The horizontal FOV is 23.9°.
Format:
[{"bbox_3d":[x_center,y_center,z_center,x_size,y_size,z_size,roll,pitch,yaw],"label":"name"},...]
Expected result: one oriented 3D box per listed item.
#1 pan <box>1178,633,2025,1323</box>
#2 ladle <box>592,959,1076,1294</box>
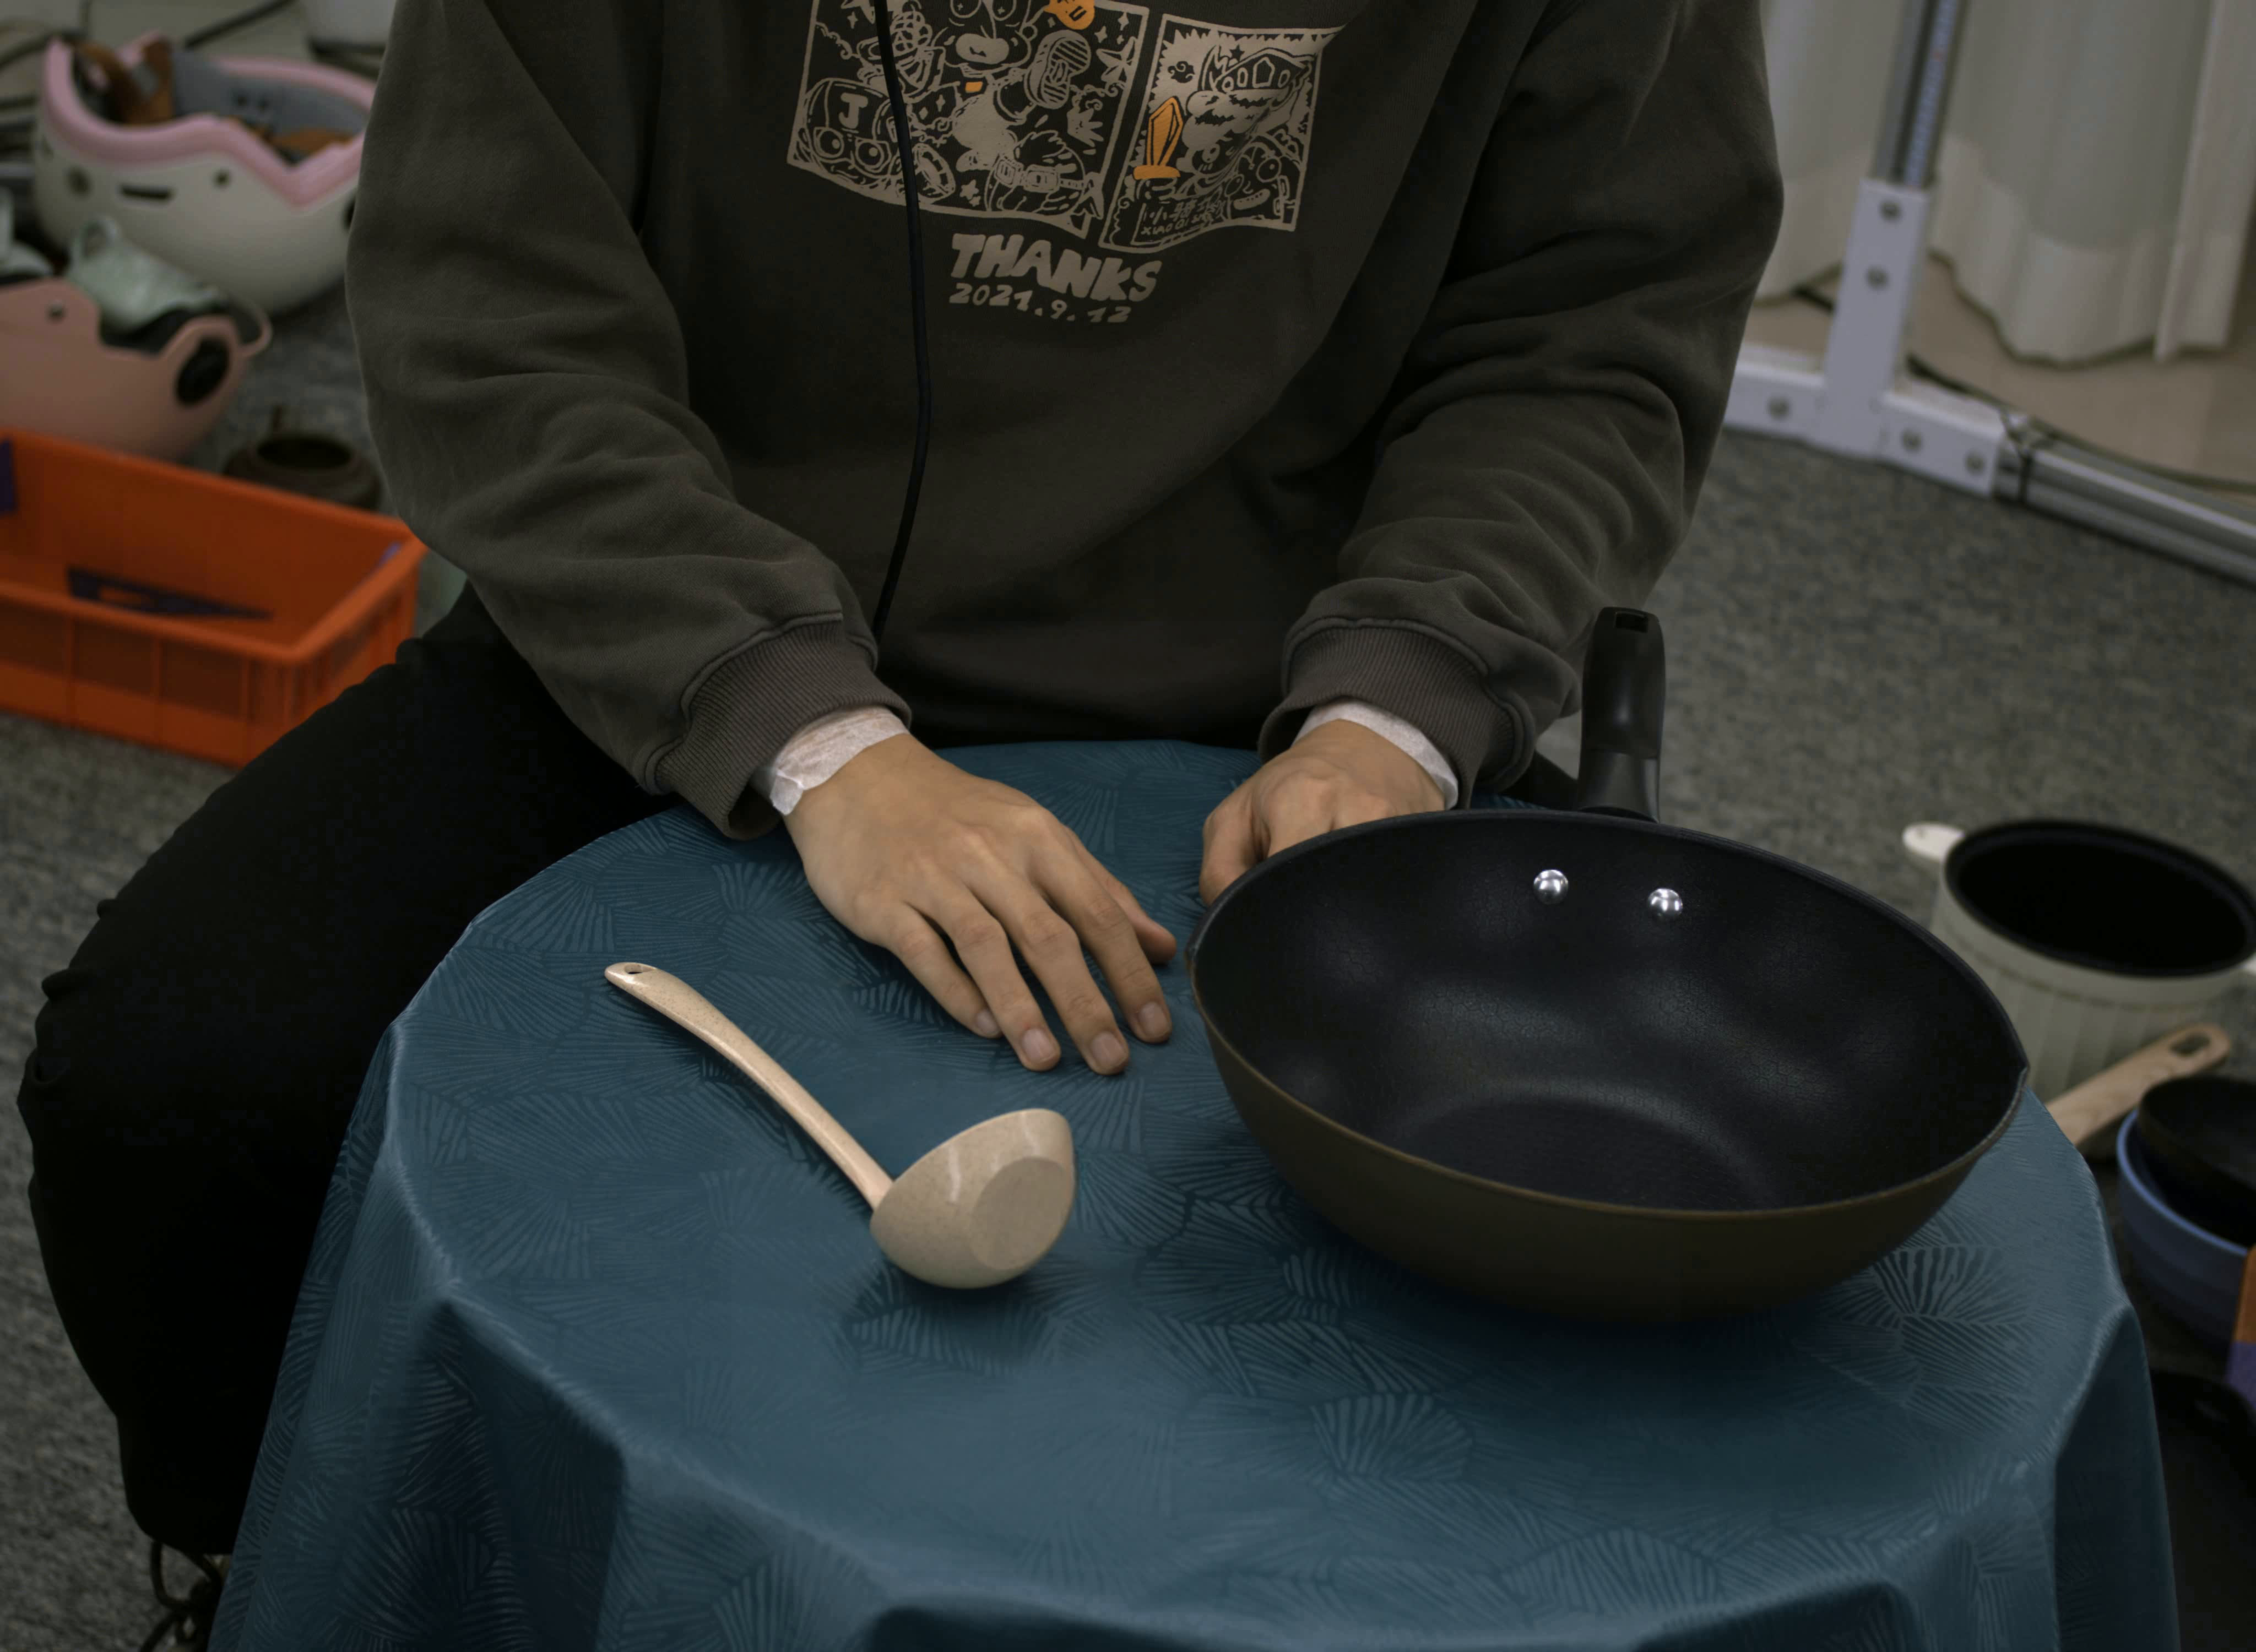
[{"bbox_3d":[0.165,0.053,1.889,0.287,0.086,0.465,8,26,4],"label":"pan"},{"bbox_3d":[-0.110,0.075,1.794,0.072,0.072,0.256,-20,37,-32],"label":"ladle"}]
